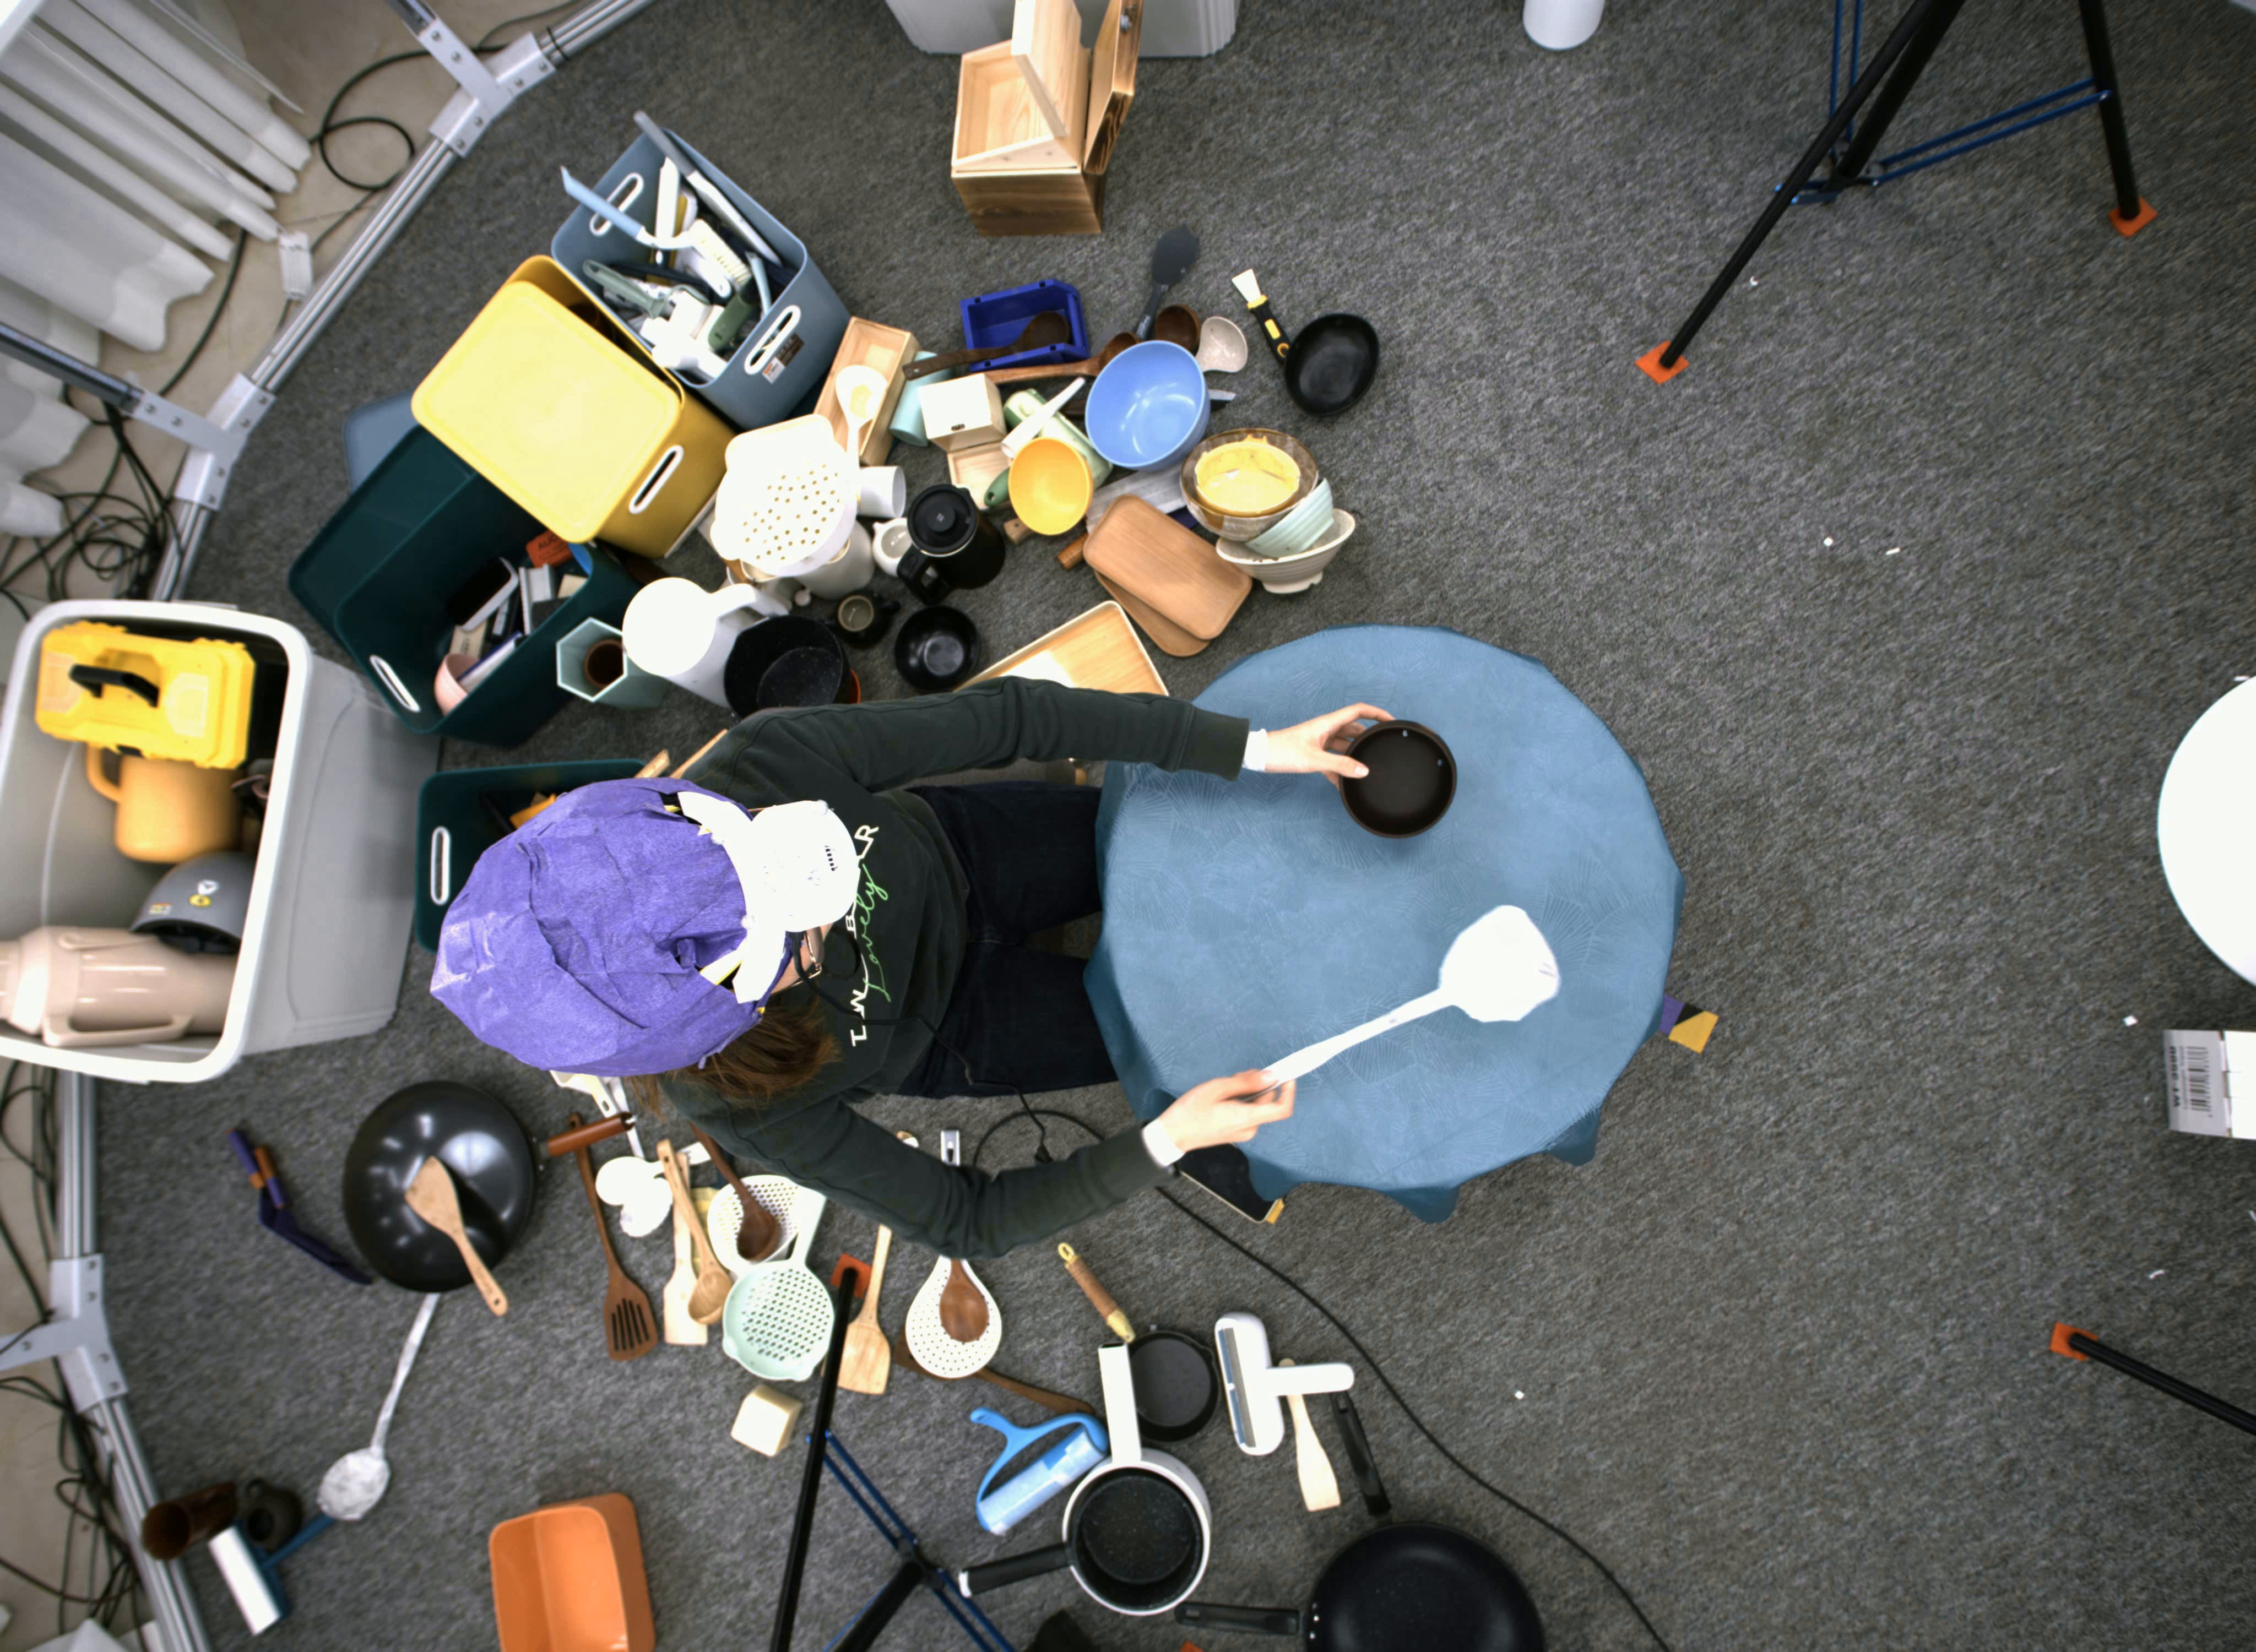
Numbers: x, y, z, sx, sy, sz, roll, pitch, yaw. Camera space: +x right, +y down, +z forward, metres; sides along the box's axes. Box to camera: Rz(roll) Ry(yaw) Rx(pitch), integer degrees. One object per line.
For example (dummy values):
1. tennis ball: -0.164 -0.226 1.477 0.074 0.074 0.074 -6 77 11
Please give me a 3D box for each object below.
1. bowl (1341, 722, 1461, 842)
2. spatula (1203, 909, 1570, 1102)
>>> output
1. bowl: 0.275 -0.048 1.387 0.118 0.069 0.119 3 102 14
2. spatula: 0.240 0.188 1.320 0.366 0.045 0.097 -23 69 4
